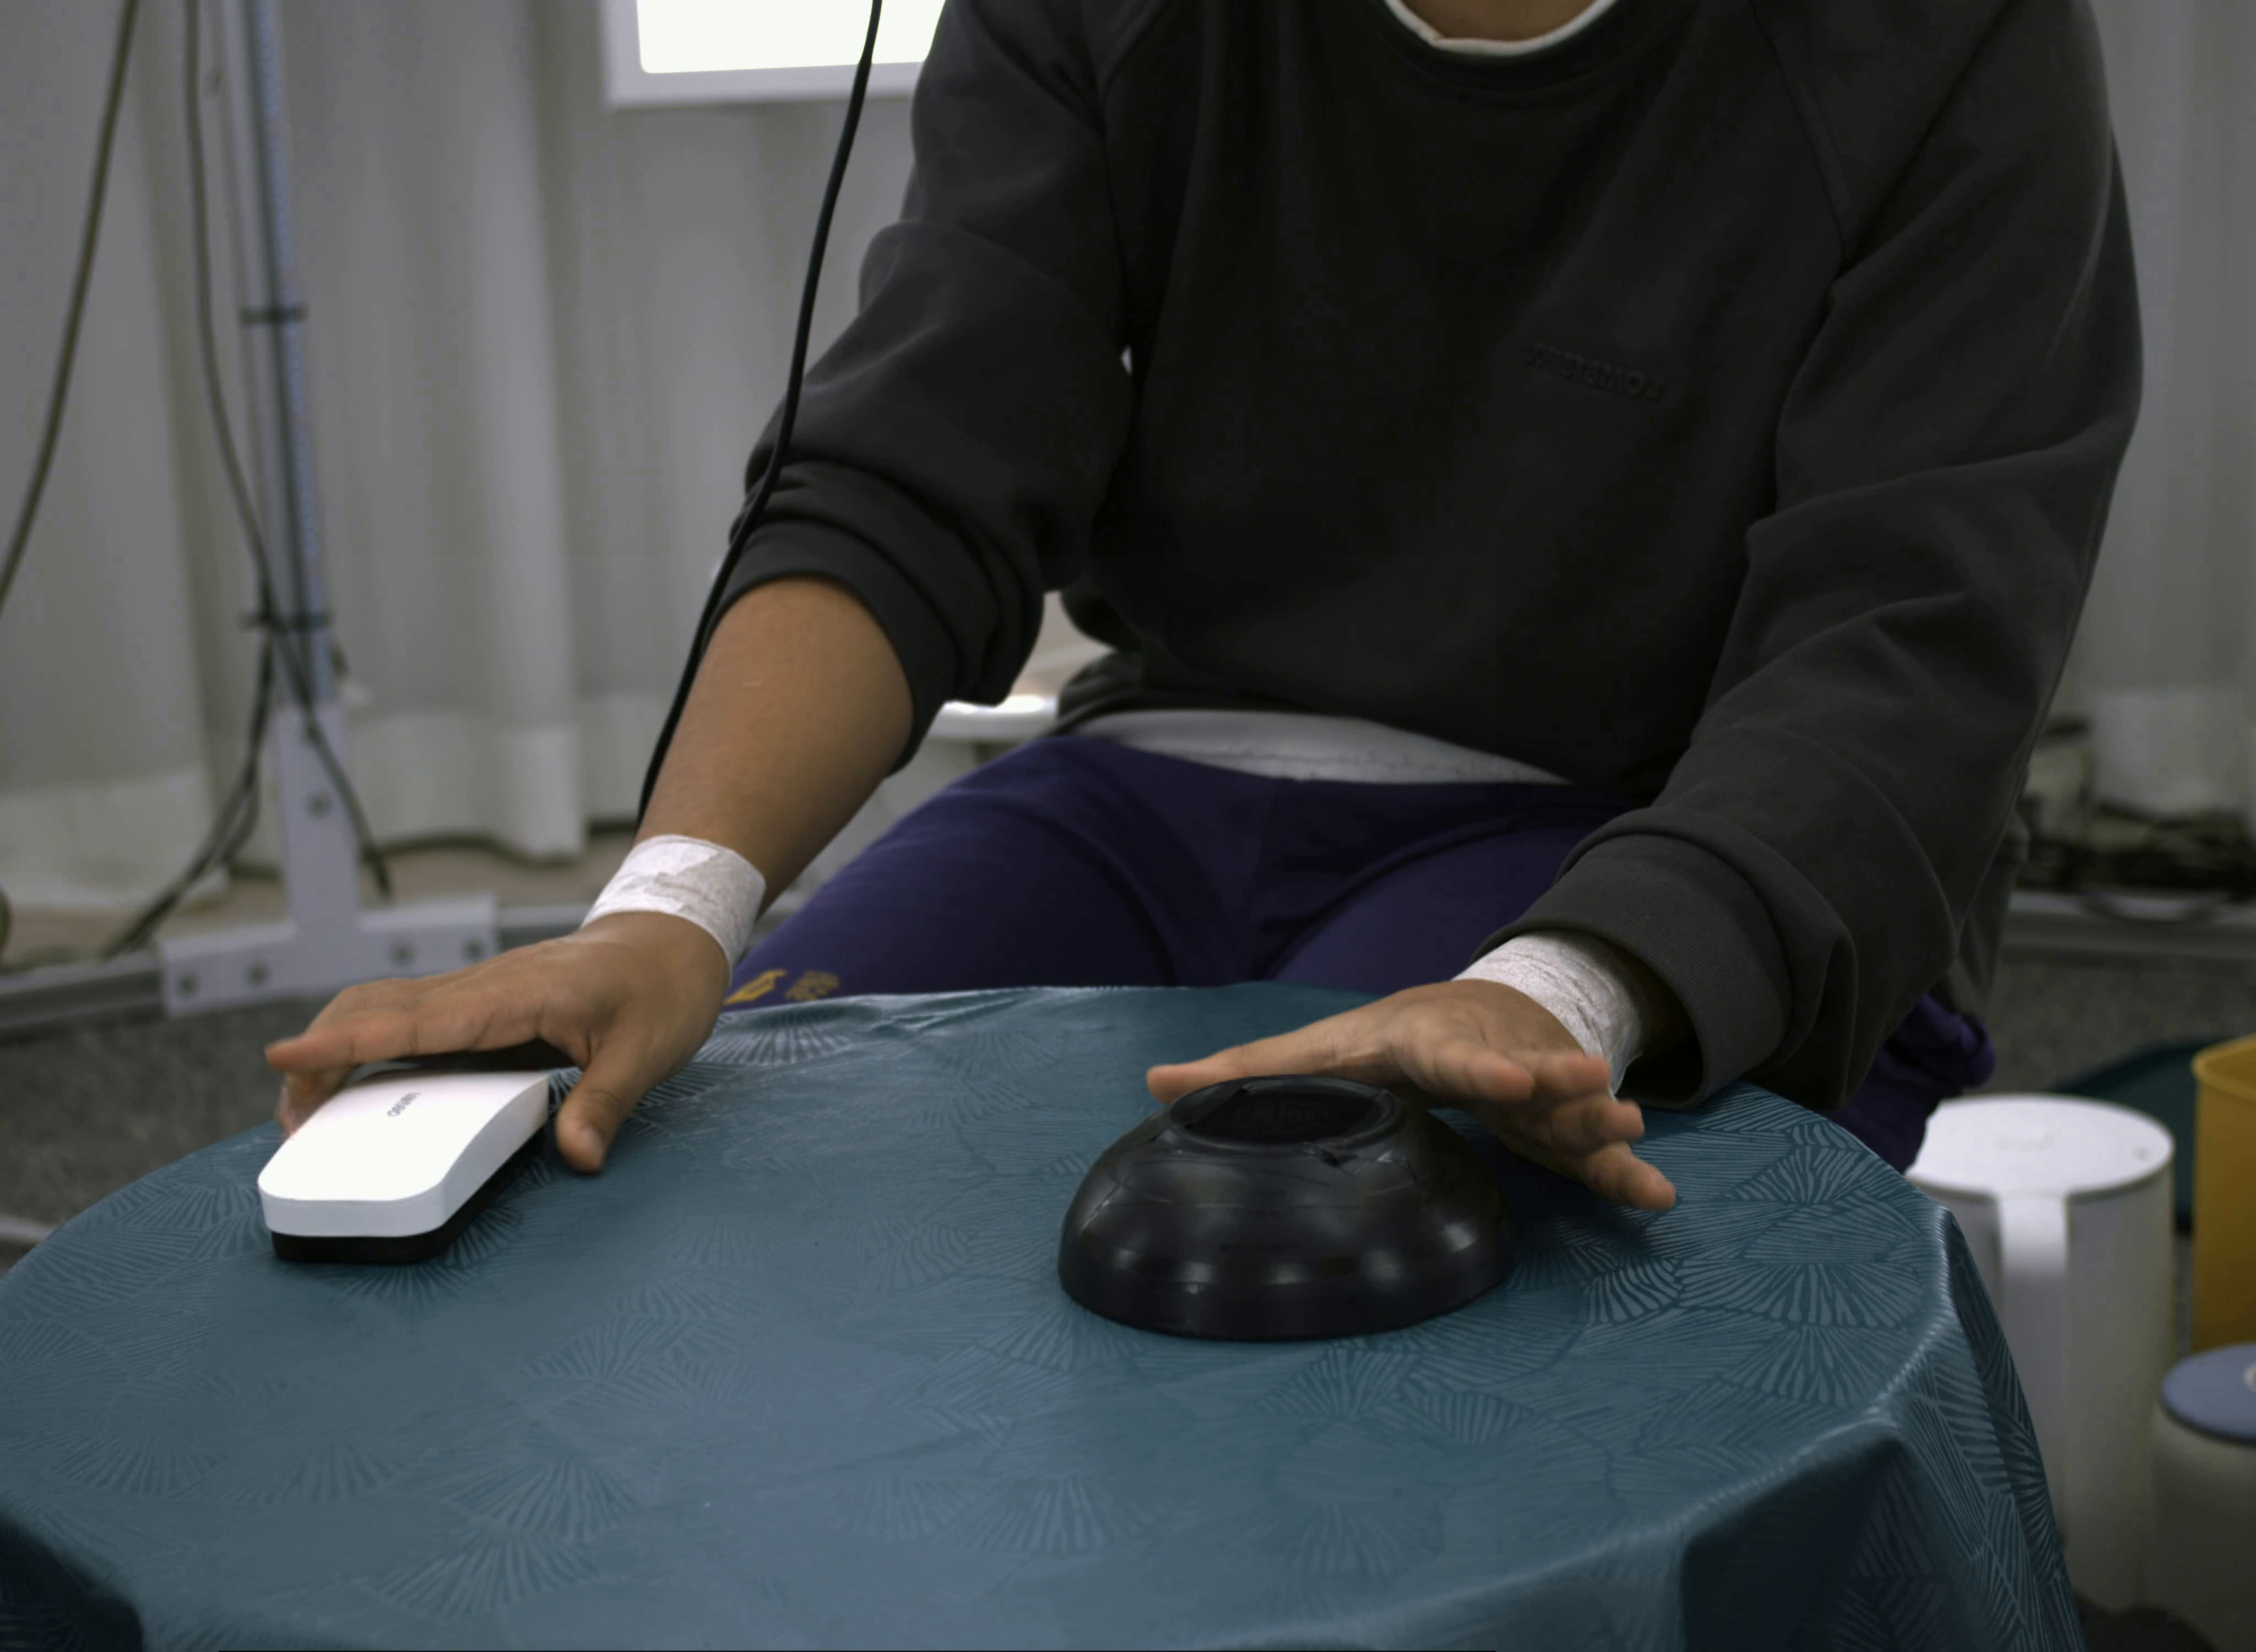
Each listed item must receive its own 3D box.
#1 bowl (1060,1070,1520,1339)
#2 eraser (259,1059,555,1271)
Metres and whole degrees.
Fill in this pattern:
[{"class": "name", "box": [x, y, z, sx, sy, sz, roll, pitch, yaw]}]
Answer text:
[{"class": "bowl", "box": [0.047, 0.107, 1.637, 0.139, 0.049, 0.141, -4, 15, 1]}, {"class": "eraser", "box": [-0.226, 0.104, 1.740, 0.063, 0.034, 0.132, 2, 17, 14]}]
